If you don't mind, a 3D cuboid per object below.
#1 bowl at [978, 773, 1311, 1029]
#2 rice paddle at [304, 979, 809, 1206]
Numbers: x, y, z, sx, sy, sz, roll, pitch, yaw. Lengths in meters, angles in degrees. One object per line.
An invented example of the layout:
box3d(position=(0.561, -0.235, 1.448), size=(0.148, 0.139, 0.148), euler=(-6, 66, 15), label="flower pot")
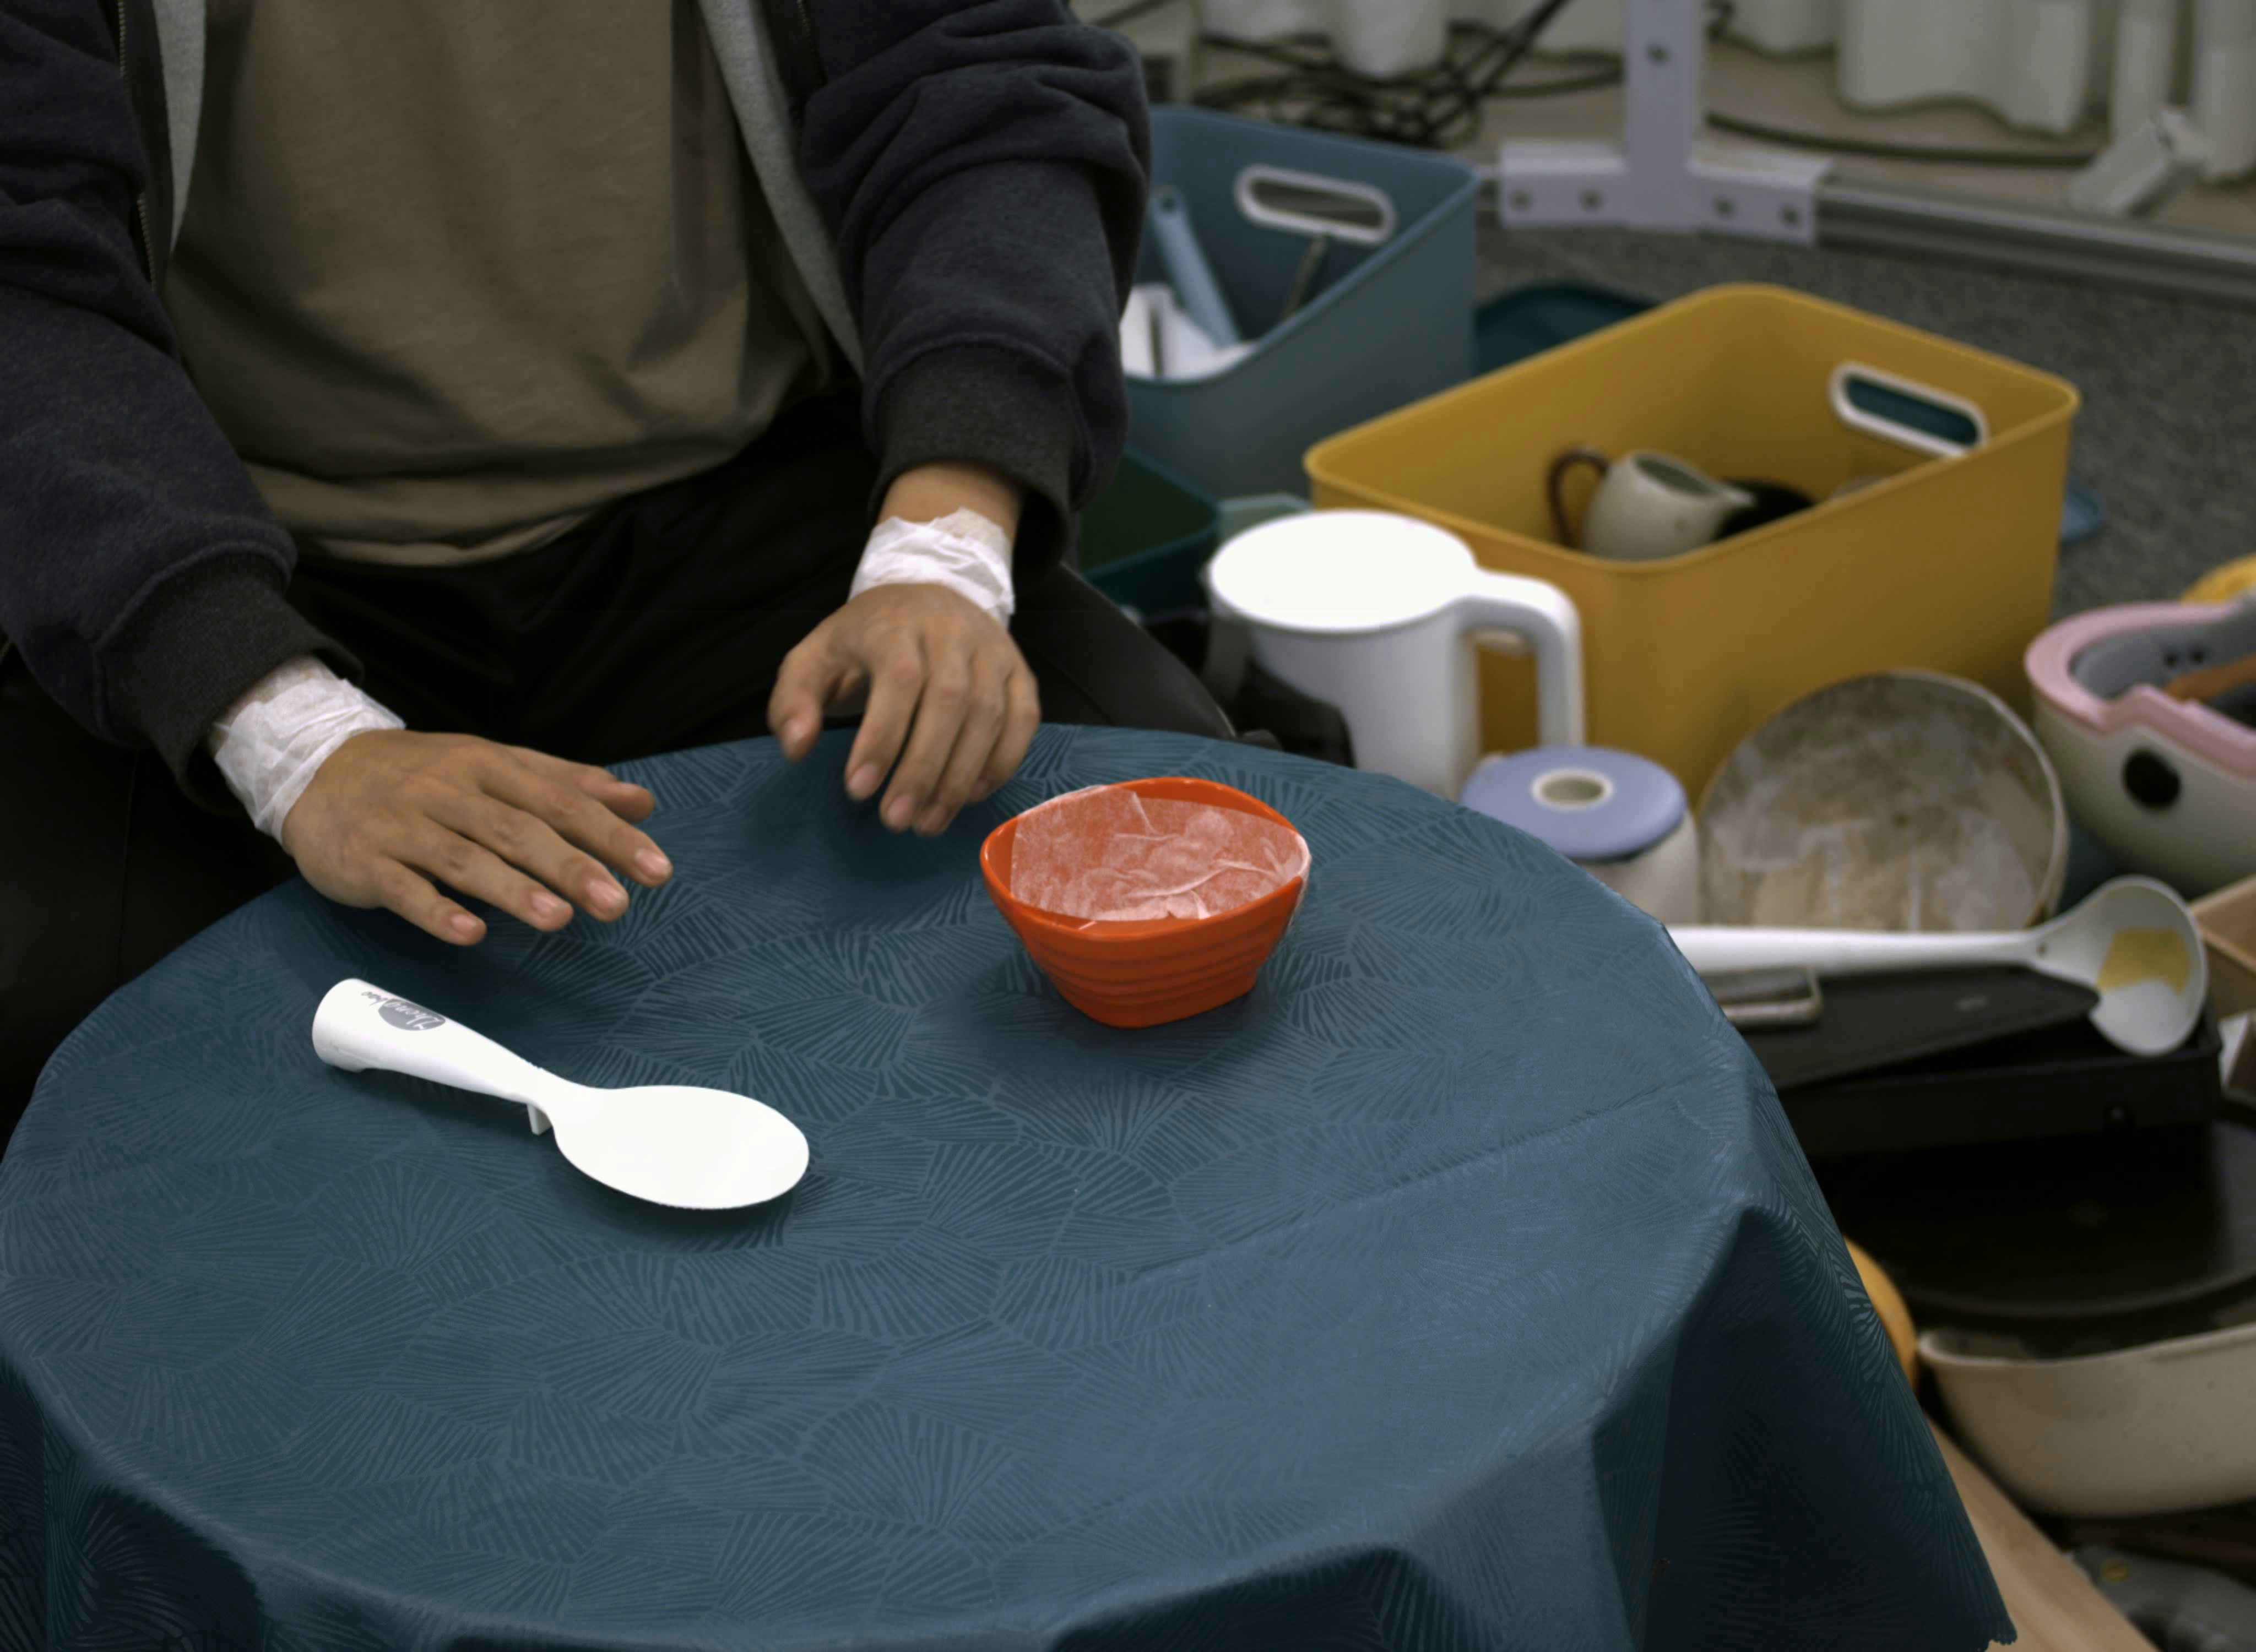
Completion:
box3d(position=(0.006, 0.030, 1.980), size=(0.118, 0.051, 0.121), euler=(-2, 28, 1), label="bowl")
box3d(position=(-0.194, 0.092, 1.907), size=(0.204, 0.029, 0.070), euler=(16, 34, 32), label="rice paddle")
